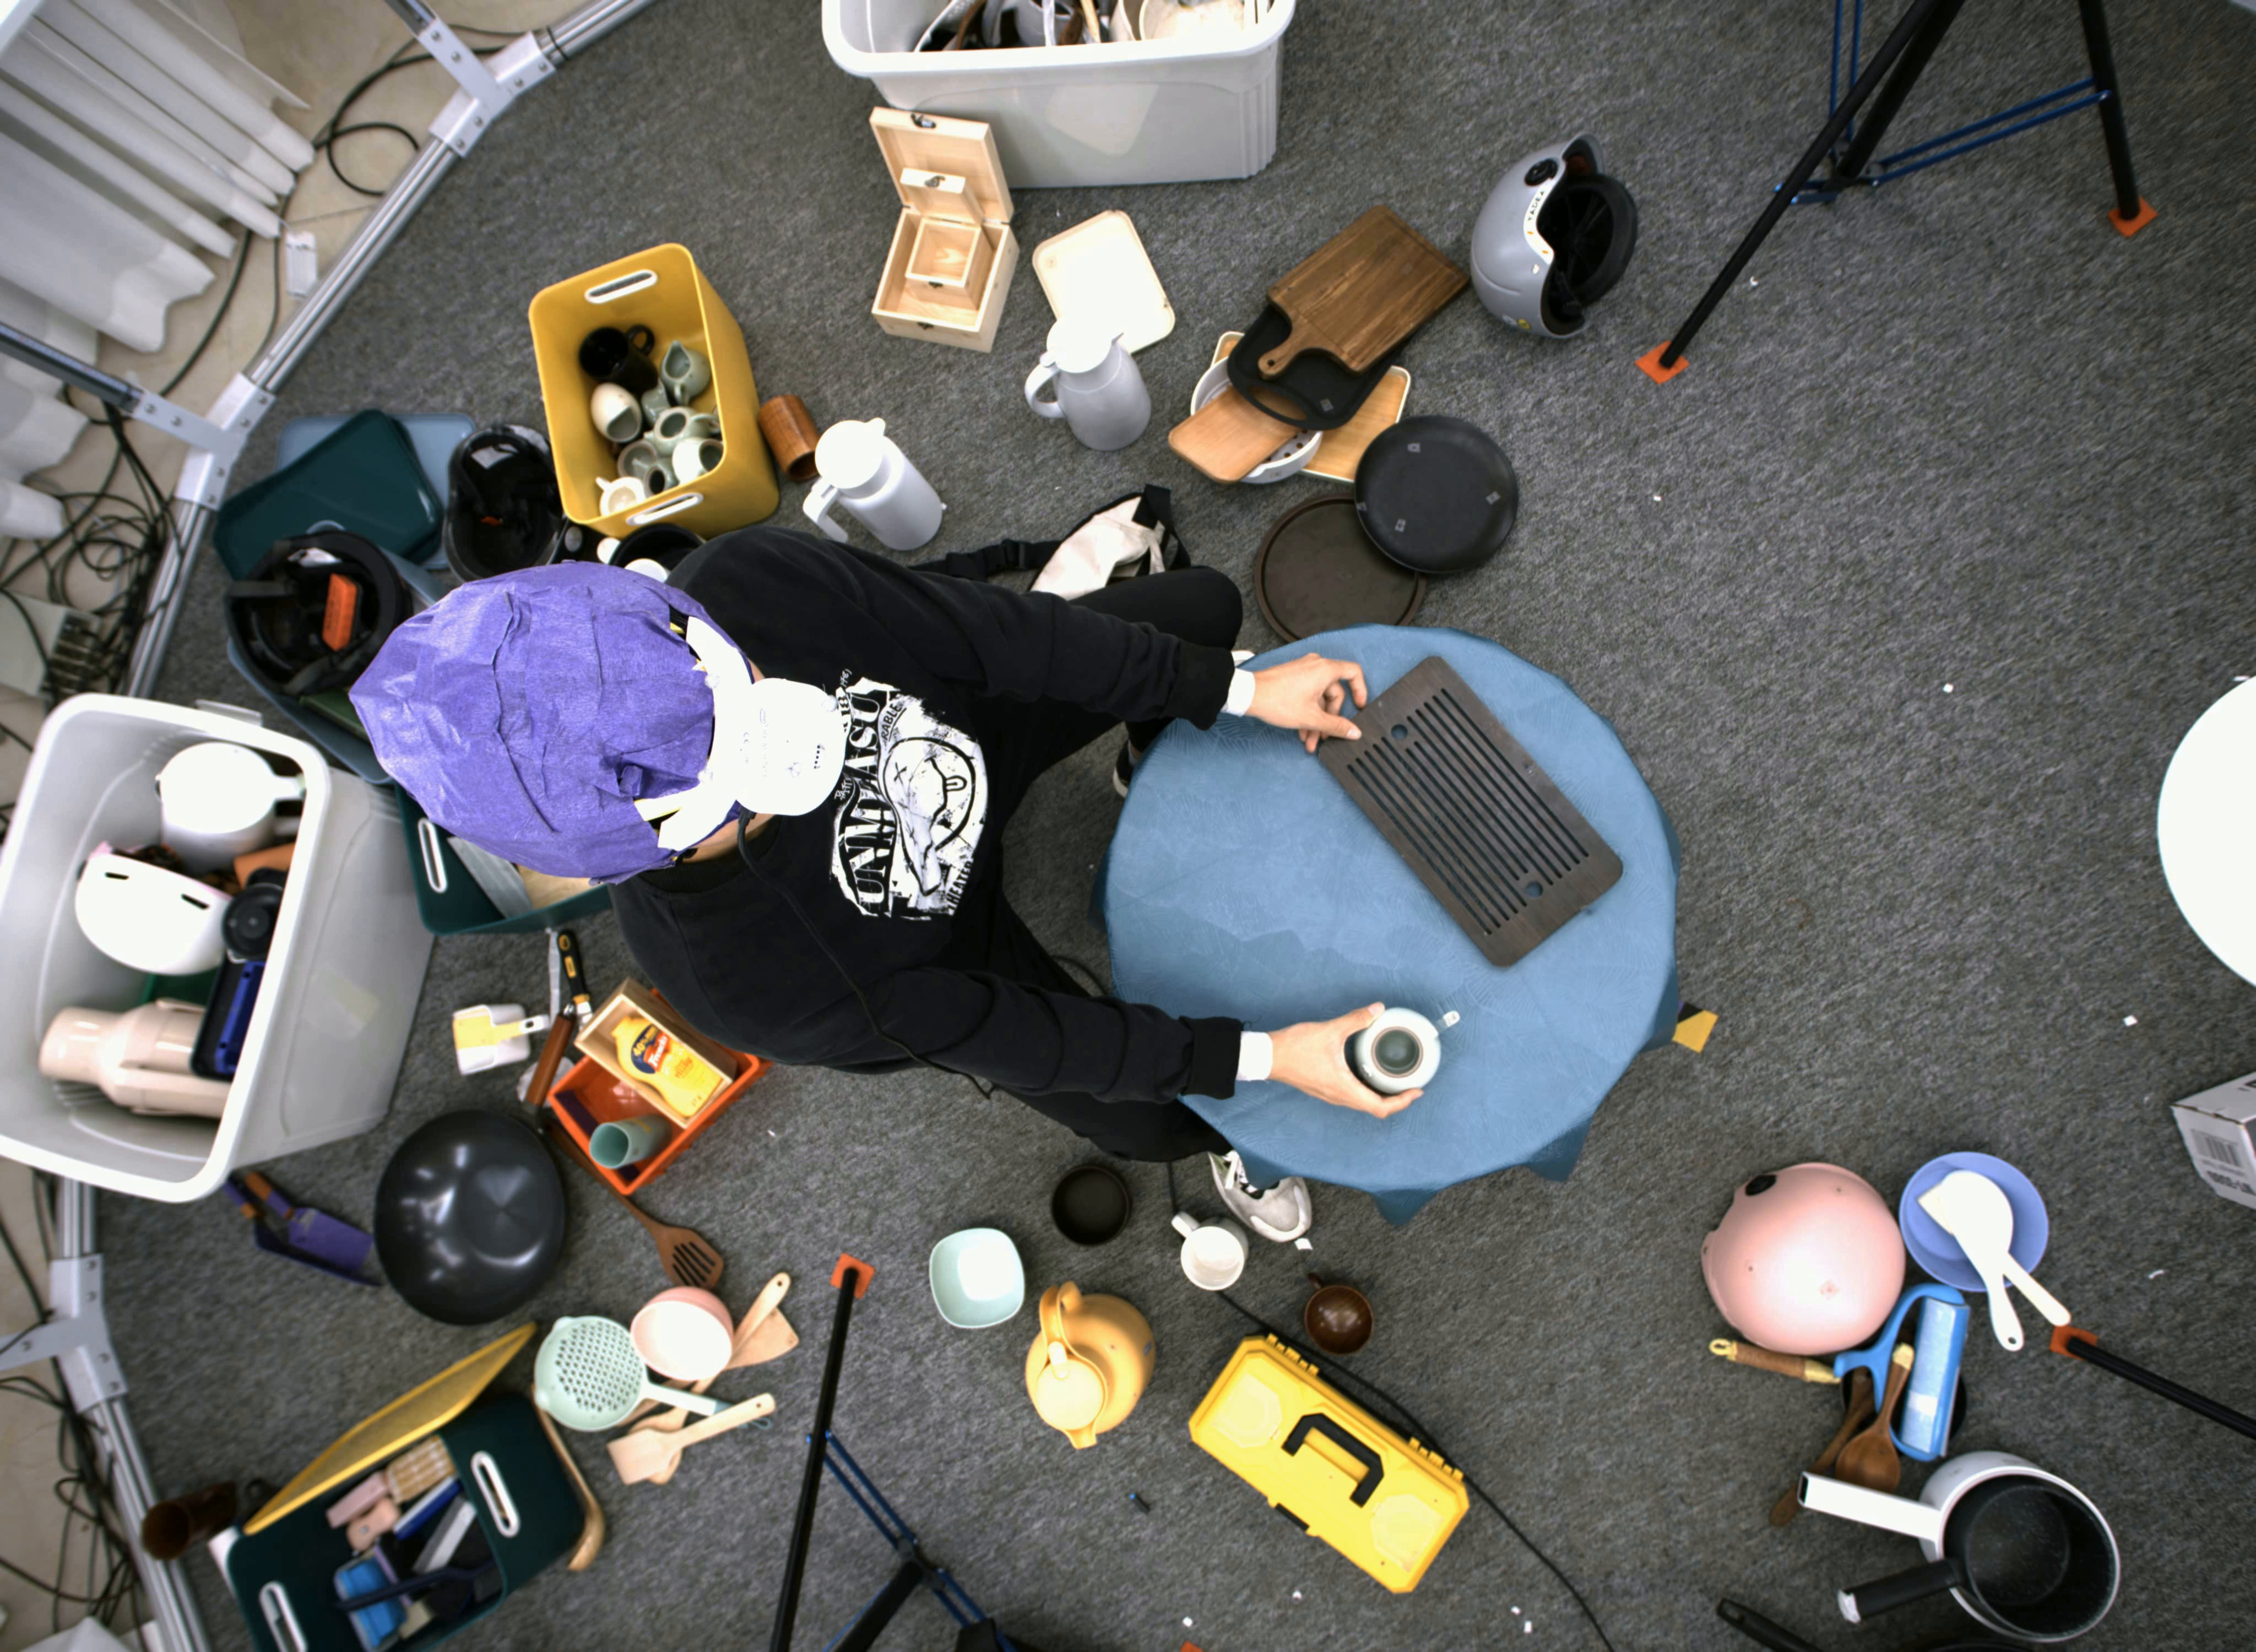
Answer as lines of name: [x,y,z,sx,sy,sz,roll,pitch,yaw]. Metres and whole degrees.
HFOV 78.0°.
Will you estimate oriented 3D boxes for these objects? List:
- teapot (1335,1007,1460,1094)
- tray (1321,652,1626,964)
teapot: [0.275,0.228,1.416,0.144,0.075,0.088,-31,81,5]
tray: [0.359,-0.022,1.440,0.171,0.018,0.304,-40,81,7]
